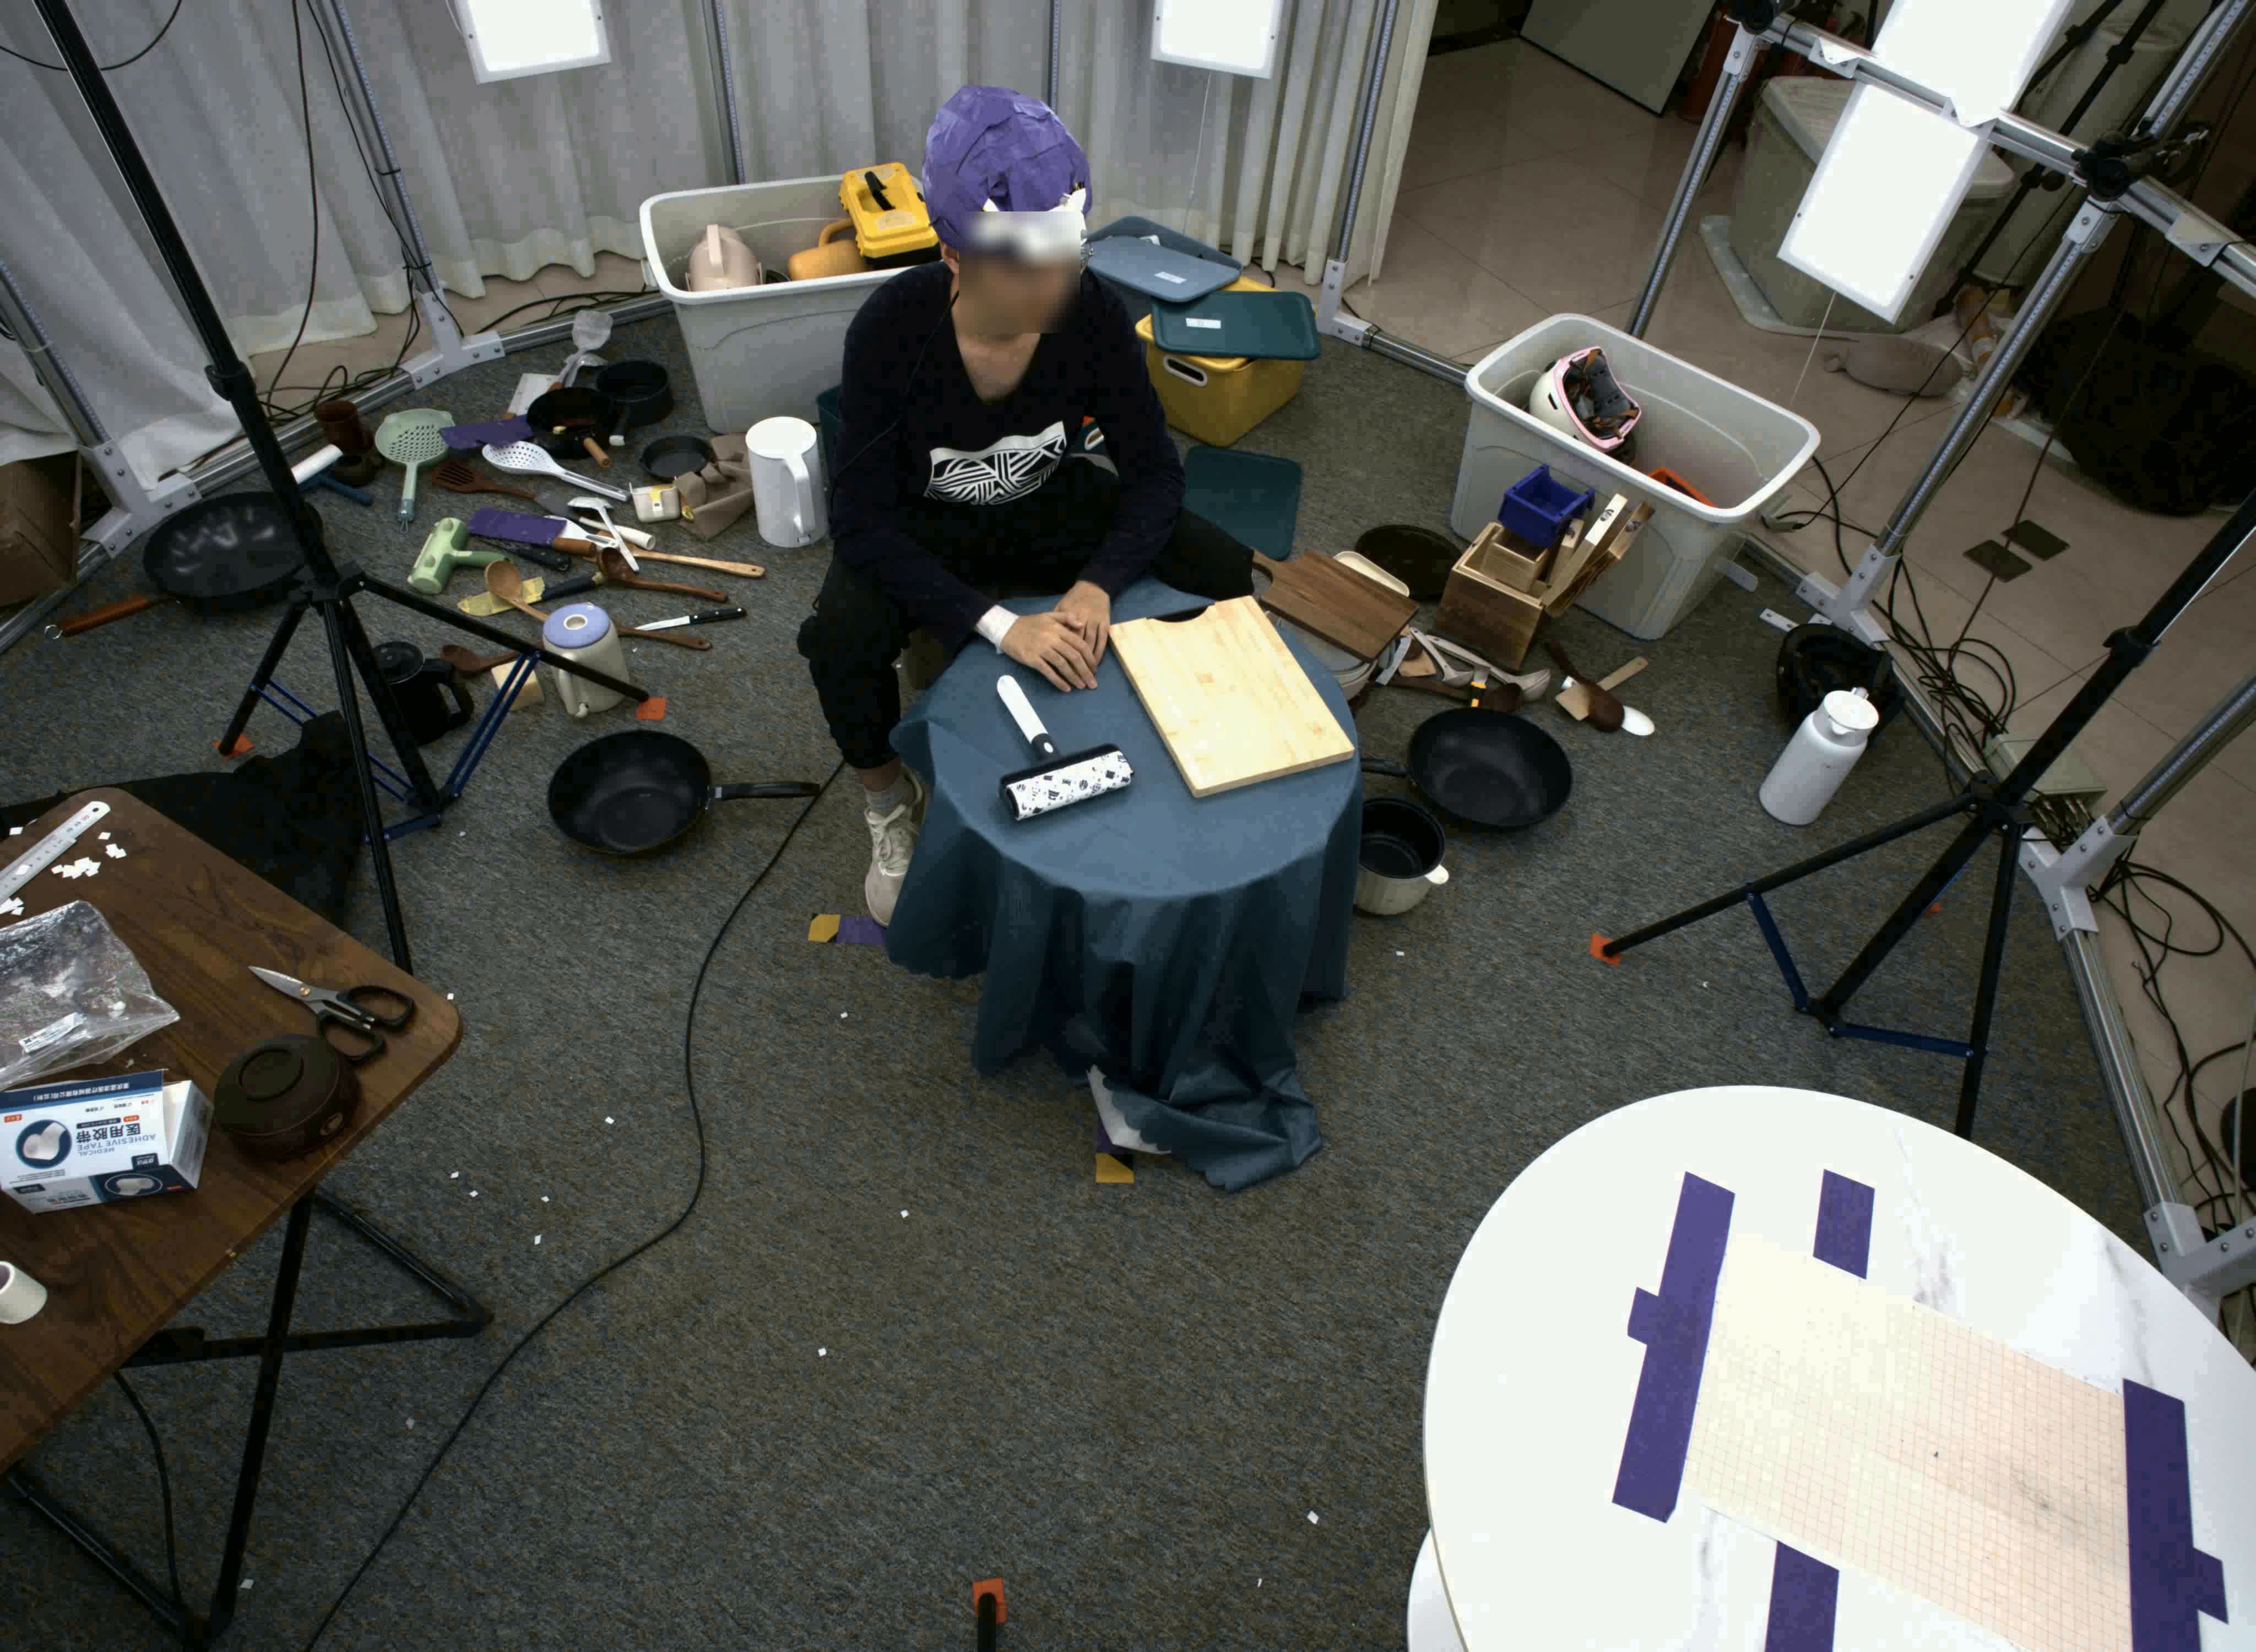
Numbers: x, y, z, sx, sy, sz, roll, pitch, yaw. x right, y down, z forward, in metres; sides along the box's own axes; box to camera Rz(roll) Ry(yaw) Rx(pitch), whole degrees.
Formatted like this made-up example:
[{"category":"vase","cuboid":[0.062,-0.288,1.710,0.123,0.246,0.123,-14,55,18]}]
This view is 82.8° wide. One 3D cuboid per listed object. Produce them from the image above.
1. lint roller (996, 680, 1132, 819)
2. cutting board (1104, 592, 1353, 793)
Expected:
[{"category":"lint roller","cuboid":[-0.125,-0.123,1.739,0.176,0.049,0.252,-20,51,-18]},{"category":"cutting board","cuboid":[0.137,-0.199,1.839,0.251,0.023,0.357,-15,52,-17]}]
